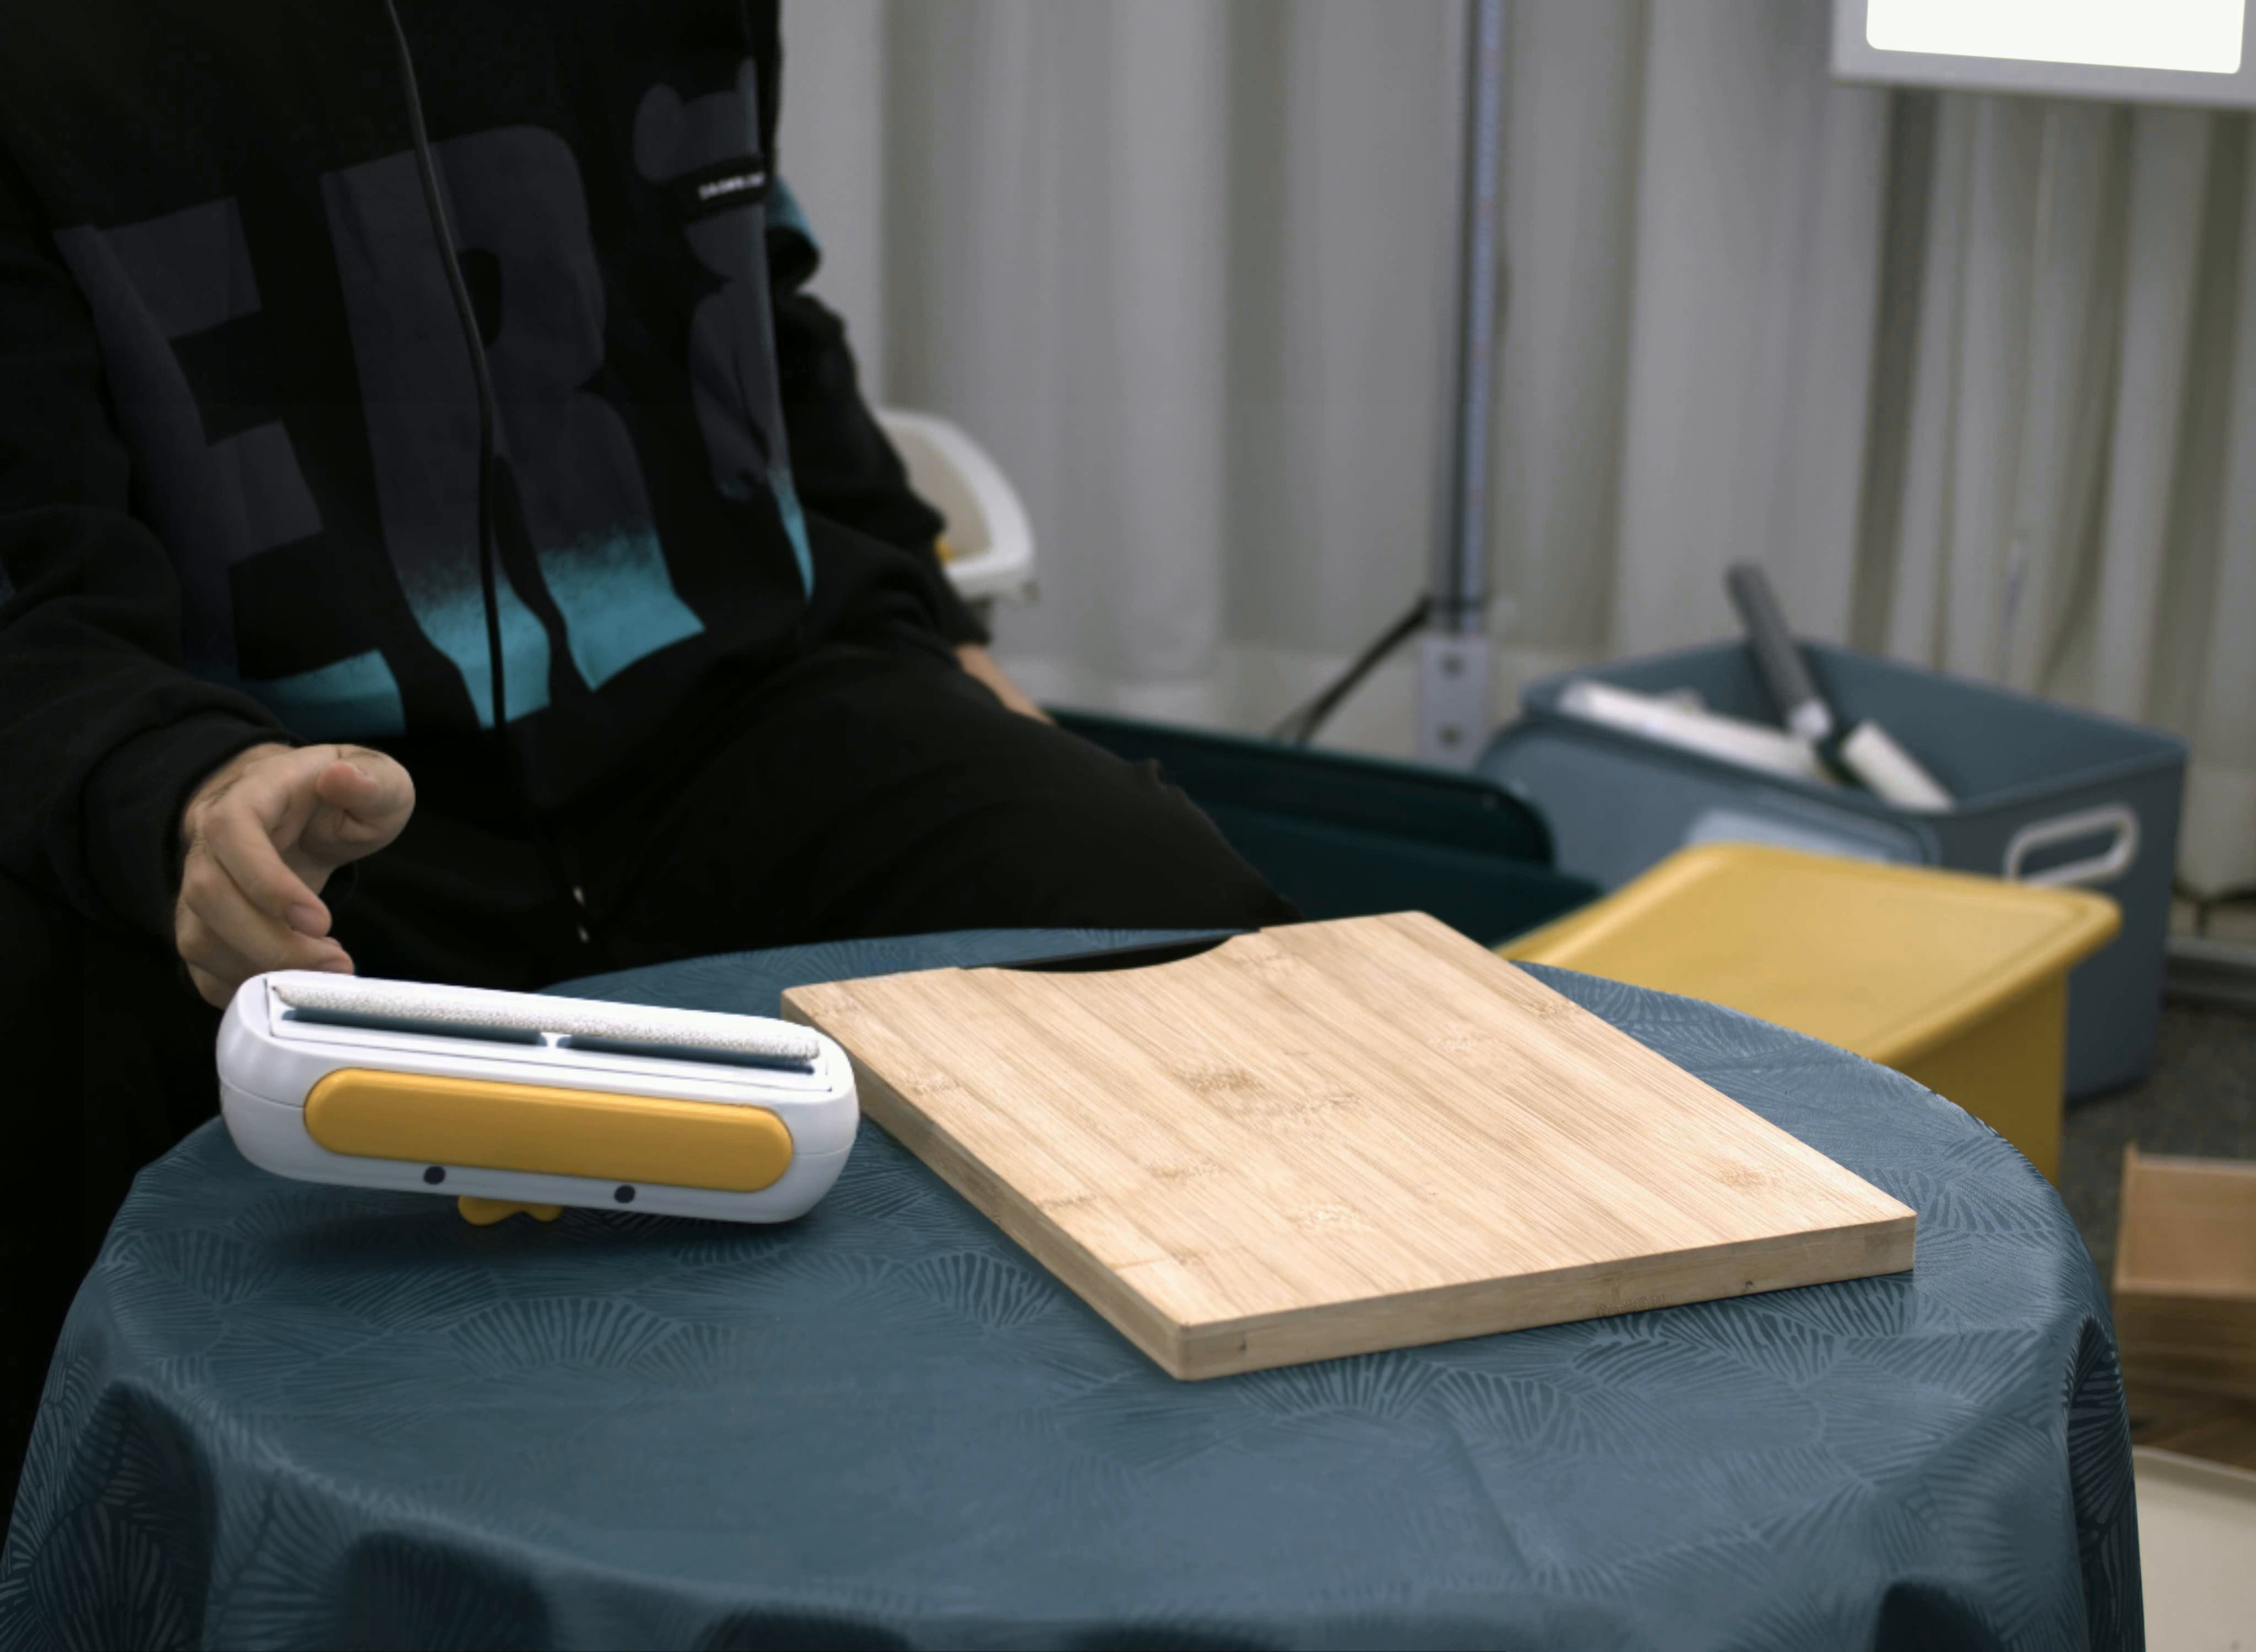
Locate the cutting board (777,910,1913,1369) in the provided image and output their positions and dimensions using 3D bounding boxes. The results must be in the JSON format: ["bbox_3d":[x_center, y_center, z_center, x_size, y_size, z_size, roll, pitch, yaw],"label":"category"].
[{"bbox_3d":[0.057,0.092,1.664,0.251,0.024,0.344,-6,17,-23],"label":"cutting board"}]

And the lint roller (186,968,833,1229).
[{"bbox_3d":[-0.193,0.074,1.628,0.193,0.075,0.191,3,13,-10],"label":"lint roller"}]
